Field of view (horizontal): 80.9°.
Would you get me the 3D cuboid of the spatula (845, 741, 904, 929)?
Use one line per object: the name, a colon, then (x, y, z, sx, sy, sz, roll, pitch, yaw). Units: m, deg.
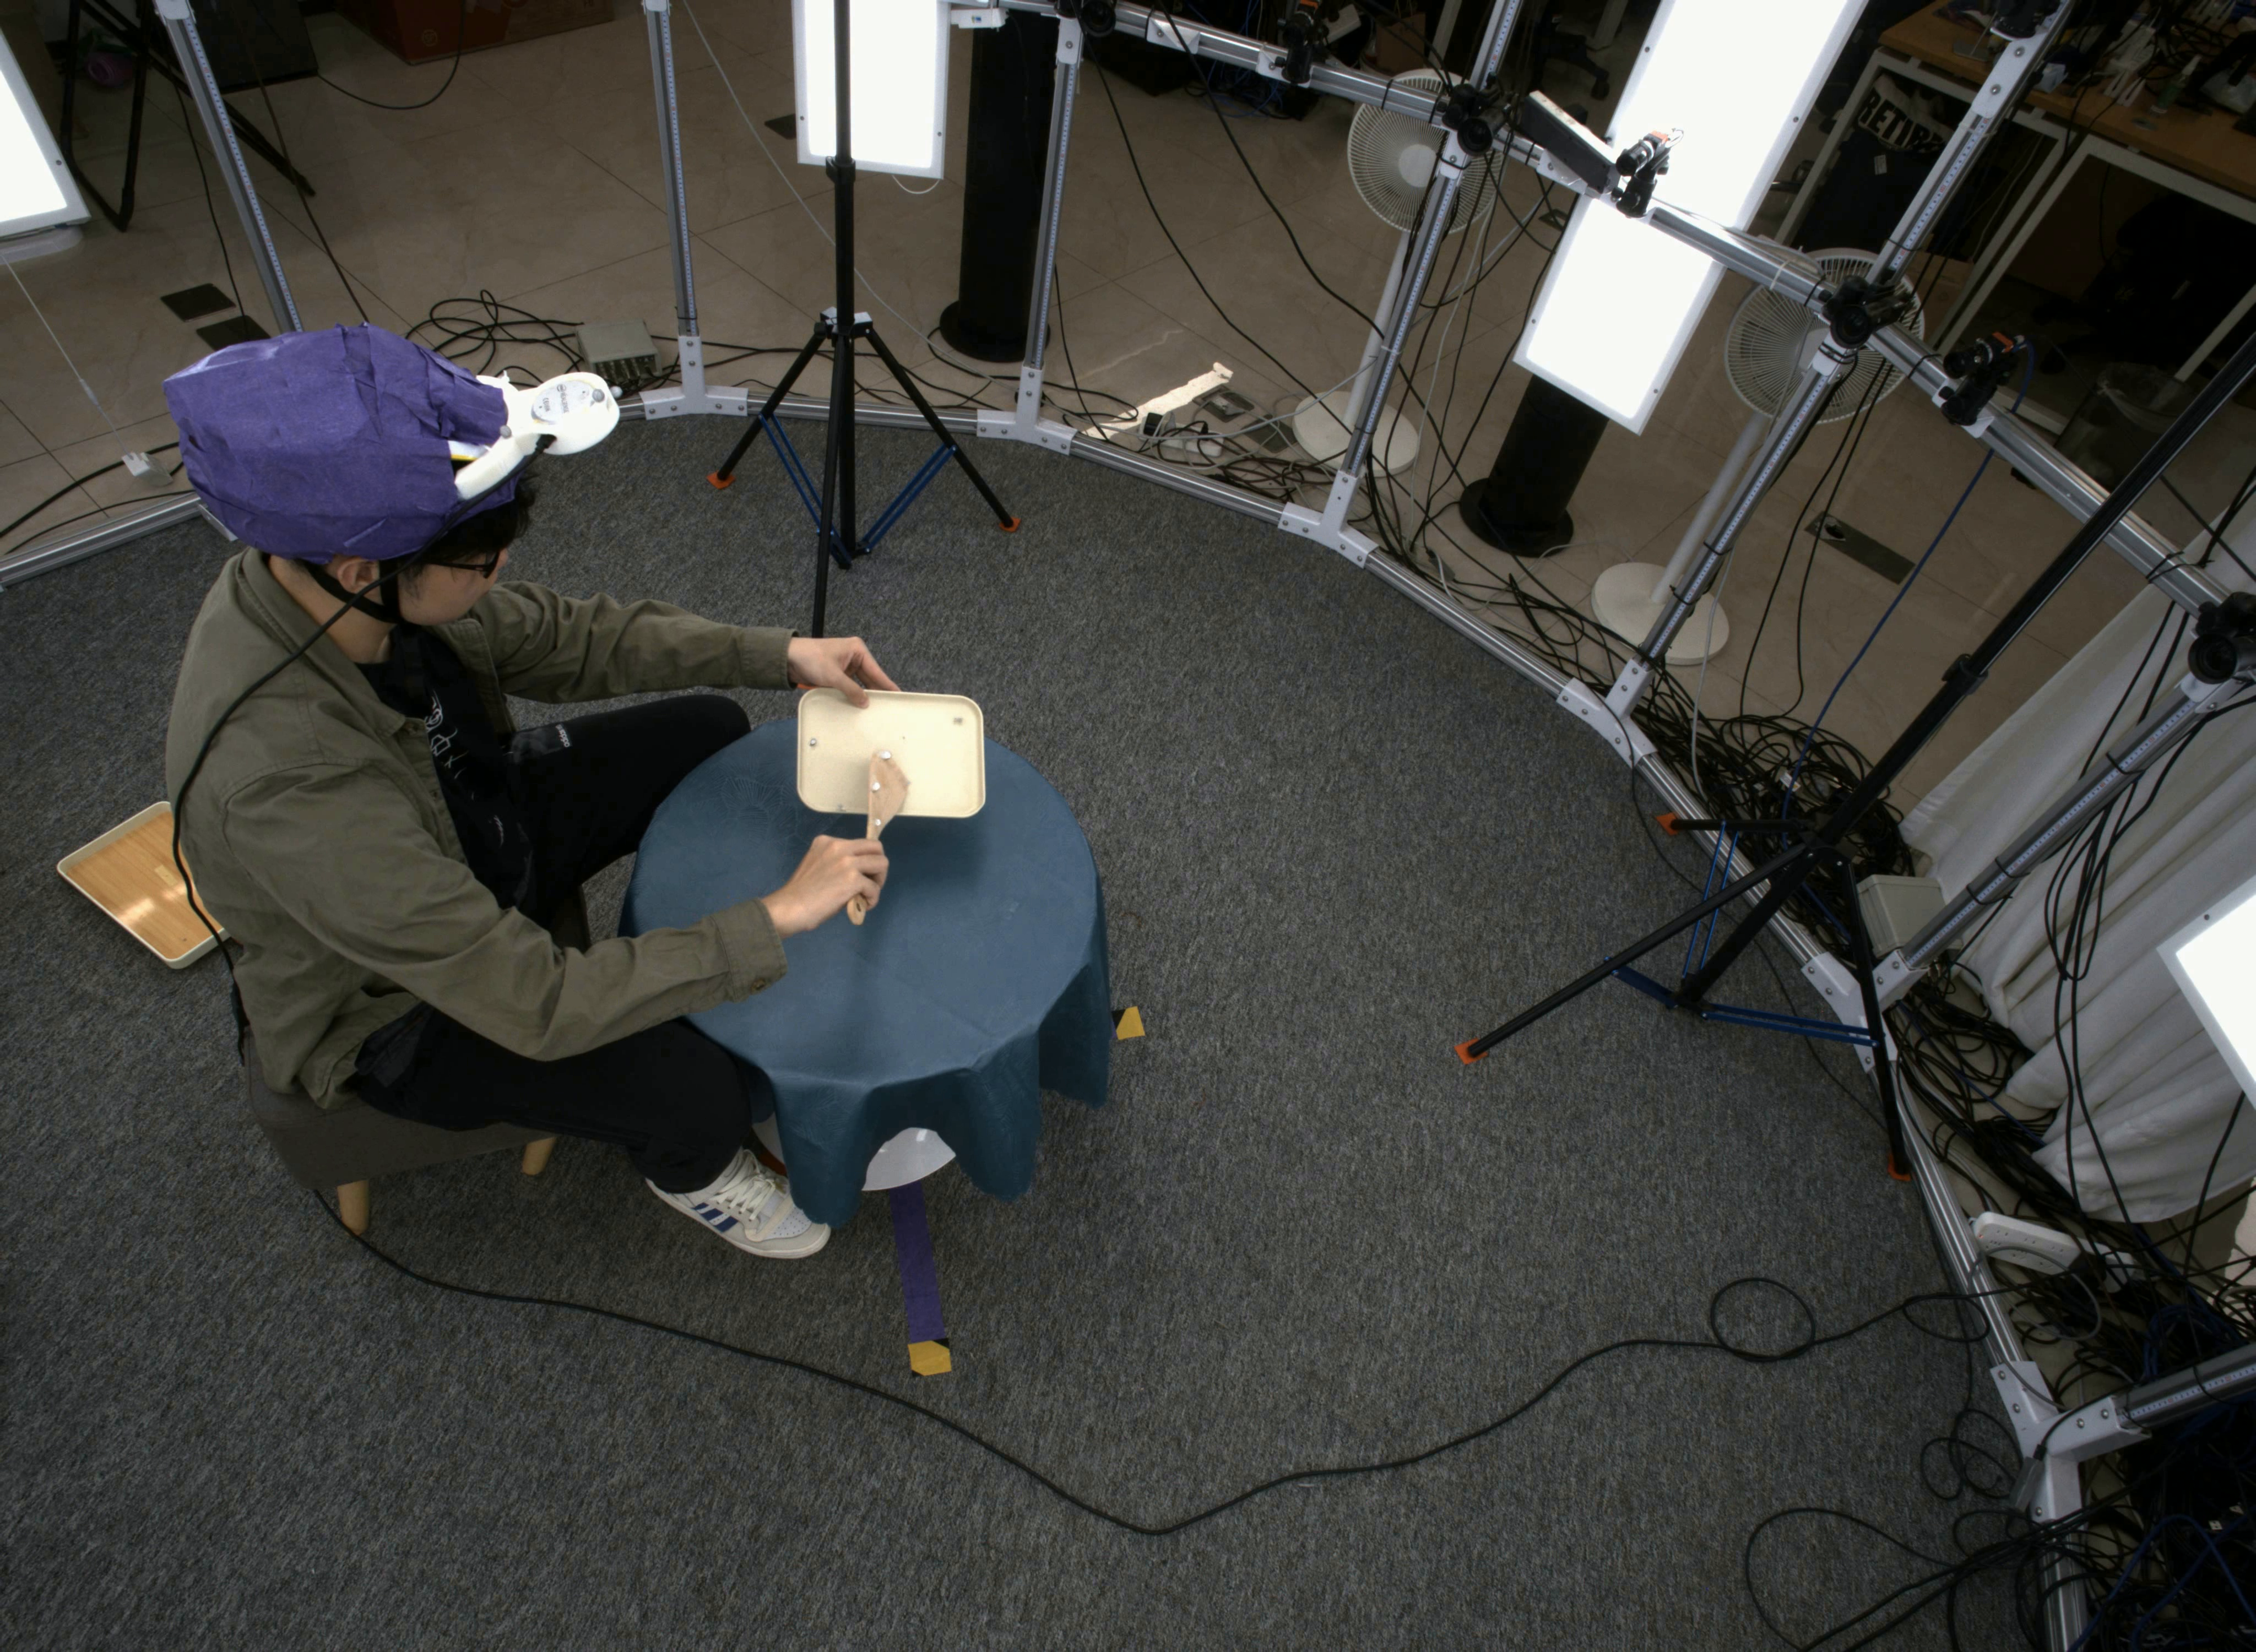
spatula: (-0.300, 0.009, 1.519, 0.016, 0.083, 0.320, -18, 35, 9)

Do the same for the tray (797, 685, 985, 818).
tray: (-0.305, -0.094, 1.672, 0.241, 0.017, 0.170, 2, 74, -20)
